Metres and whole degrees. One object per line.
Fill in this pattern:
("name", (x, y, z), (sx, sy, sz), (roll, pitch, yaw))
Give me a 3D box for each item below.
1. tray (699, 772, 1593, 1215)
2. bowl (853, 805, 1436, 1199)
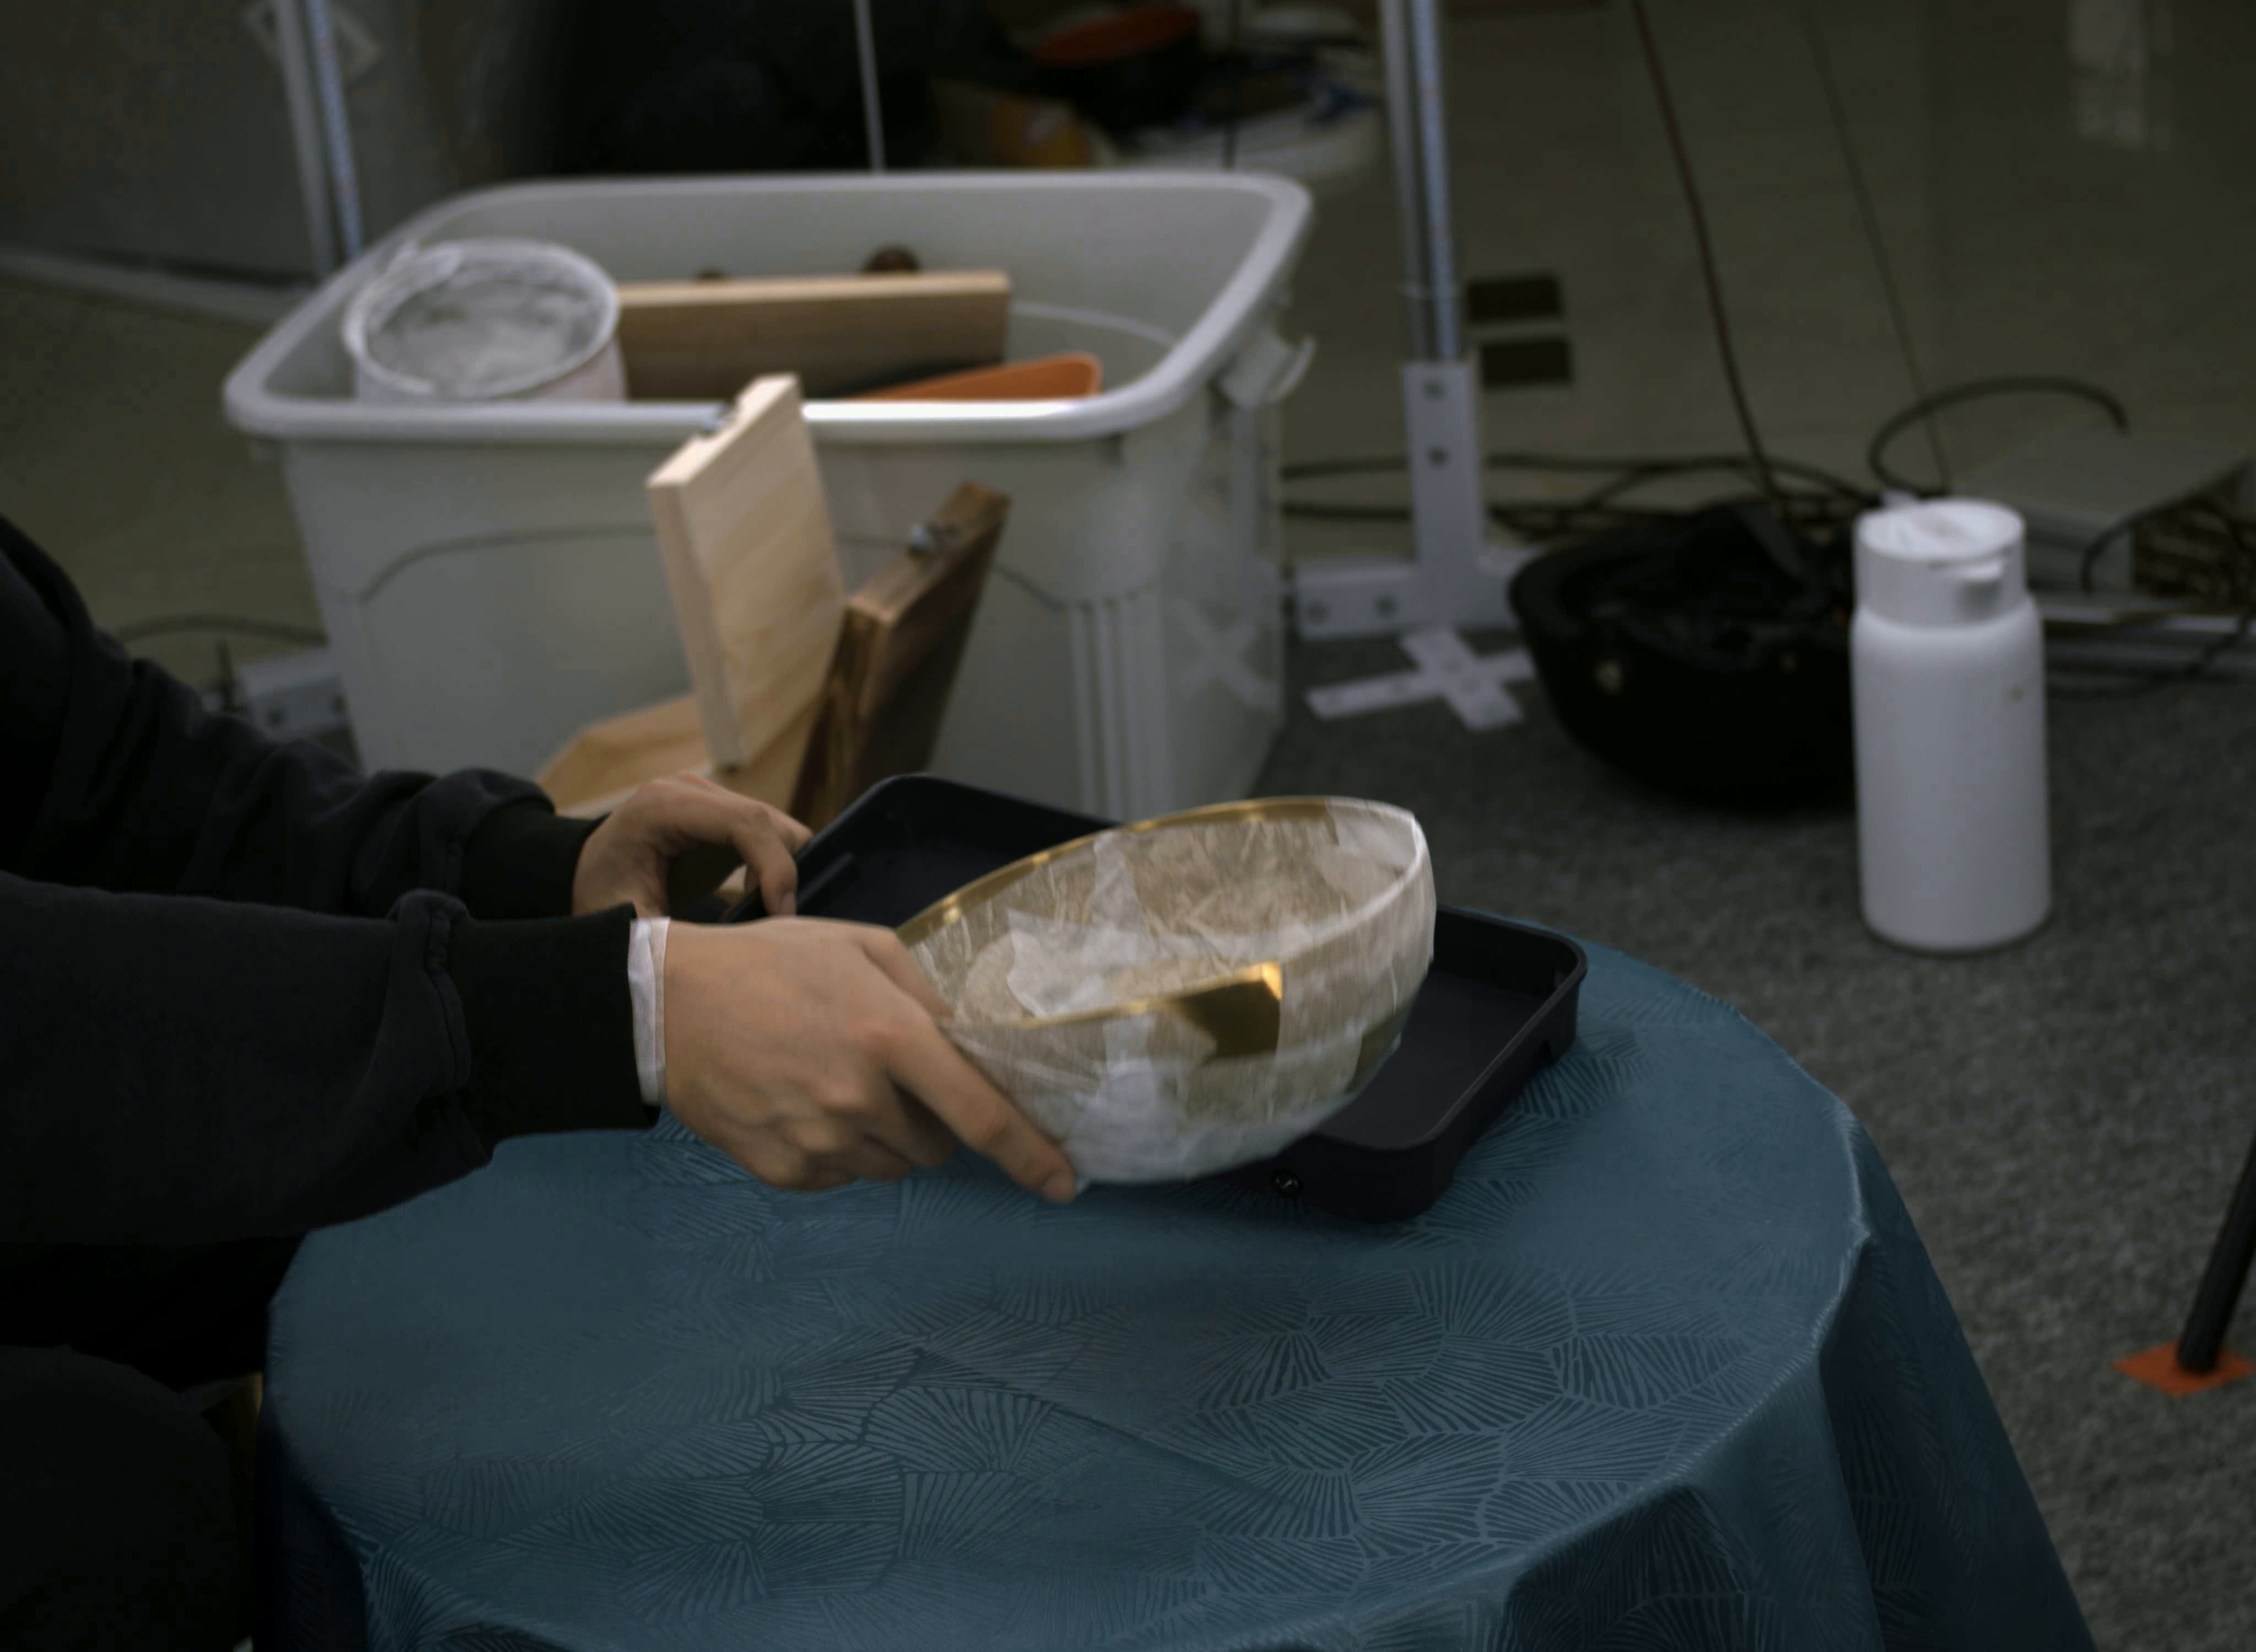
("tray", (0.007, 0.062, 2.218), (0.316, 0.038, 0.182), (14, 33, 24))
("bowl", (0.013, 0.073, 1.996), (0.214, 0.096, 0.212), (-13, 19, 5))
